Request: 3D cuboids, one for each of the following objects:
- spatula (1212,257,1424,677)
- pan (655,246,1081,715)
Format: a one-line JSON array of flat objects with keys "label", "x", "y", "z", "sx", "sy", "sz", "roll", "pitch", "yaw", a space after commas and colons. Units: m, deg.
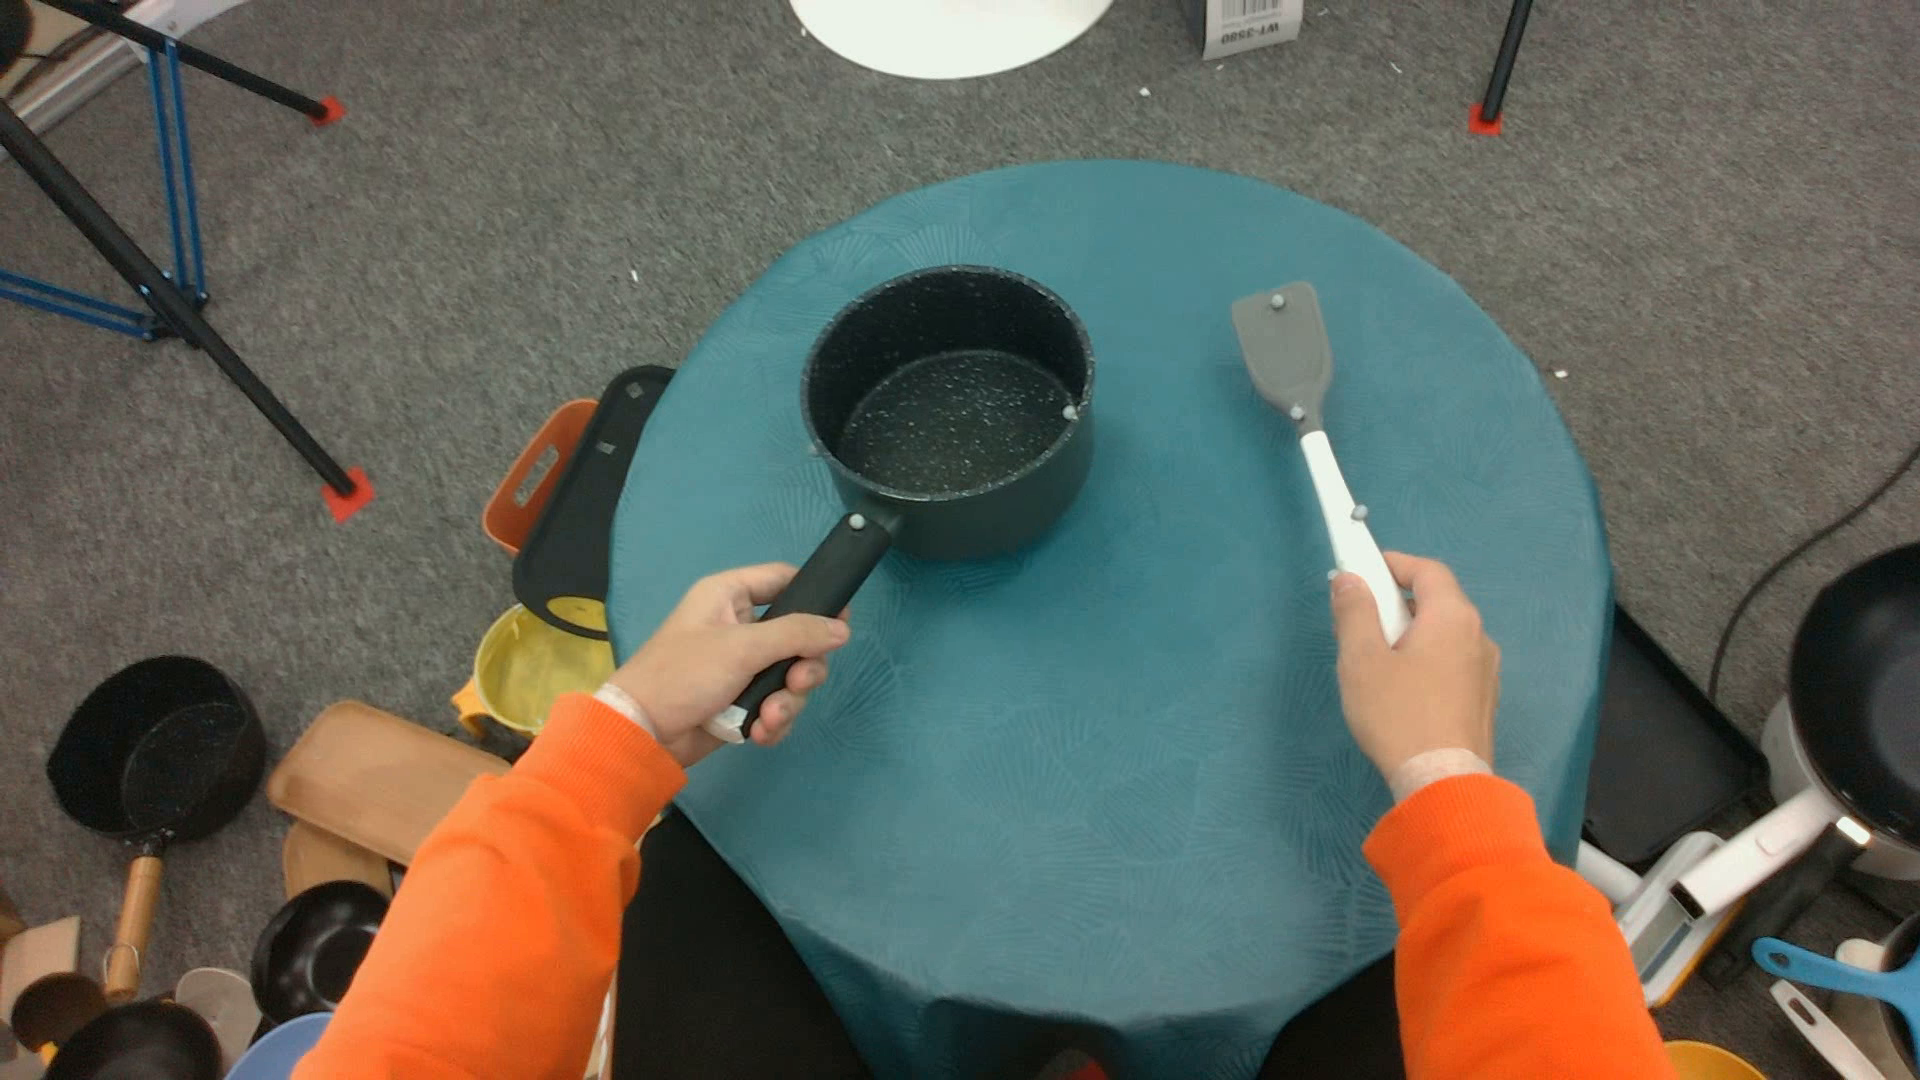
[{"label": "spatula", "x": 0.203, "y": -0.053, "z": 0.786, "sx": 0.058, "sy": 0.032, "sz": 0.289, "roll": -19, "pitch": 53, "yaw": 13}, {"label": "pan", "x": -0.052, "y": -0.026, "z": 0.776, "sx": 0.172, "sy": 0.086, "sz": 0.330, "roll": 22, "pitch": 62, "yaw": 22}]
